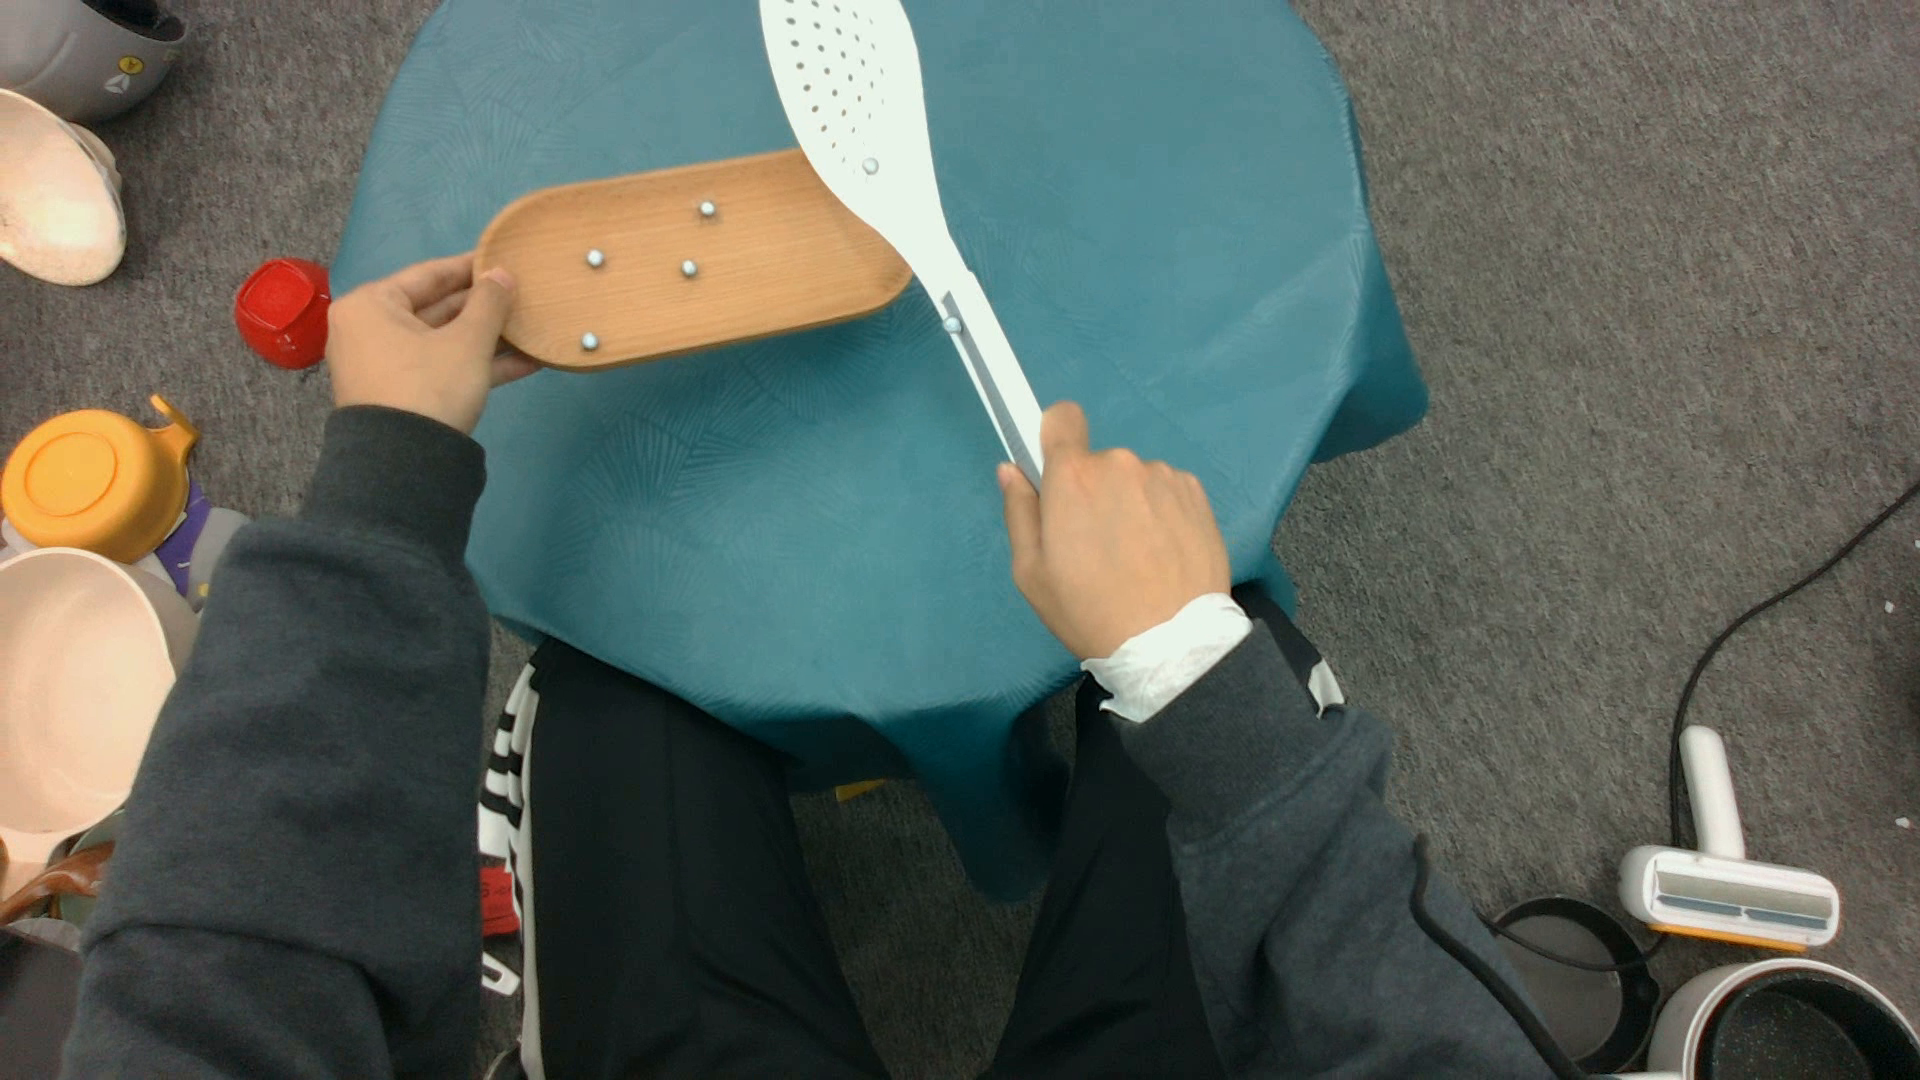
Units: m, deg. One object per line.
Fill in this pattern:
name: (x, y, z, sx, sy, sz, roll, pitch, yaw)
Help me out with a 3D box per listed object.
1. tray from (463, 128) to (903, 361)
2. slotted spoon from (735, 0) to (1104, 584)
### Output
tray: (-0.138, -0.156, 0.718, 0.232, 0.020, 0.102, -16, 78, -19)
slotted spoon: (-0.021, -0.138, 0.642, 0.046, 0.135, 0.350, -20, 82, -20)
